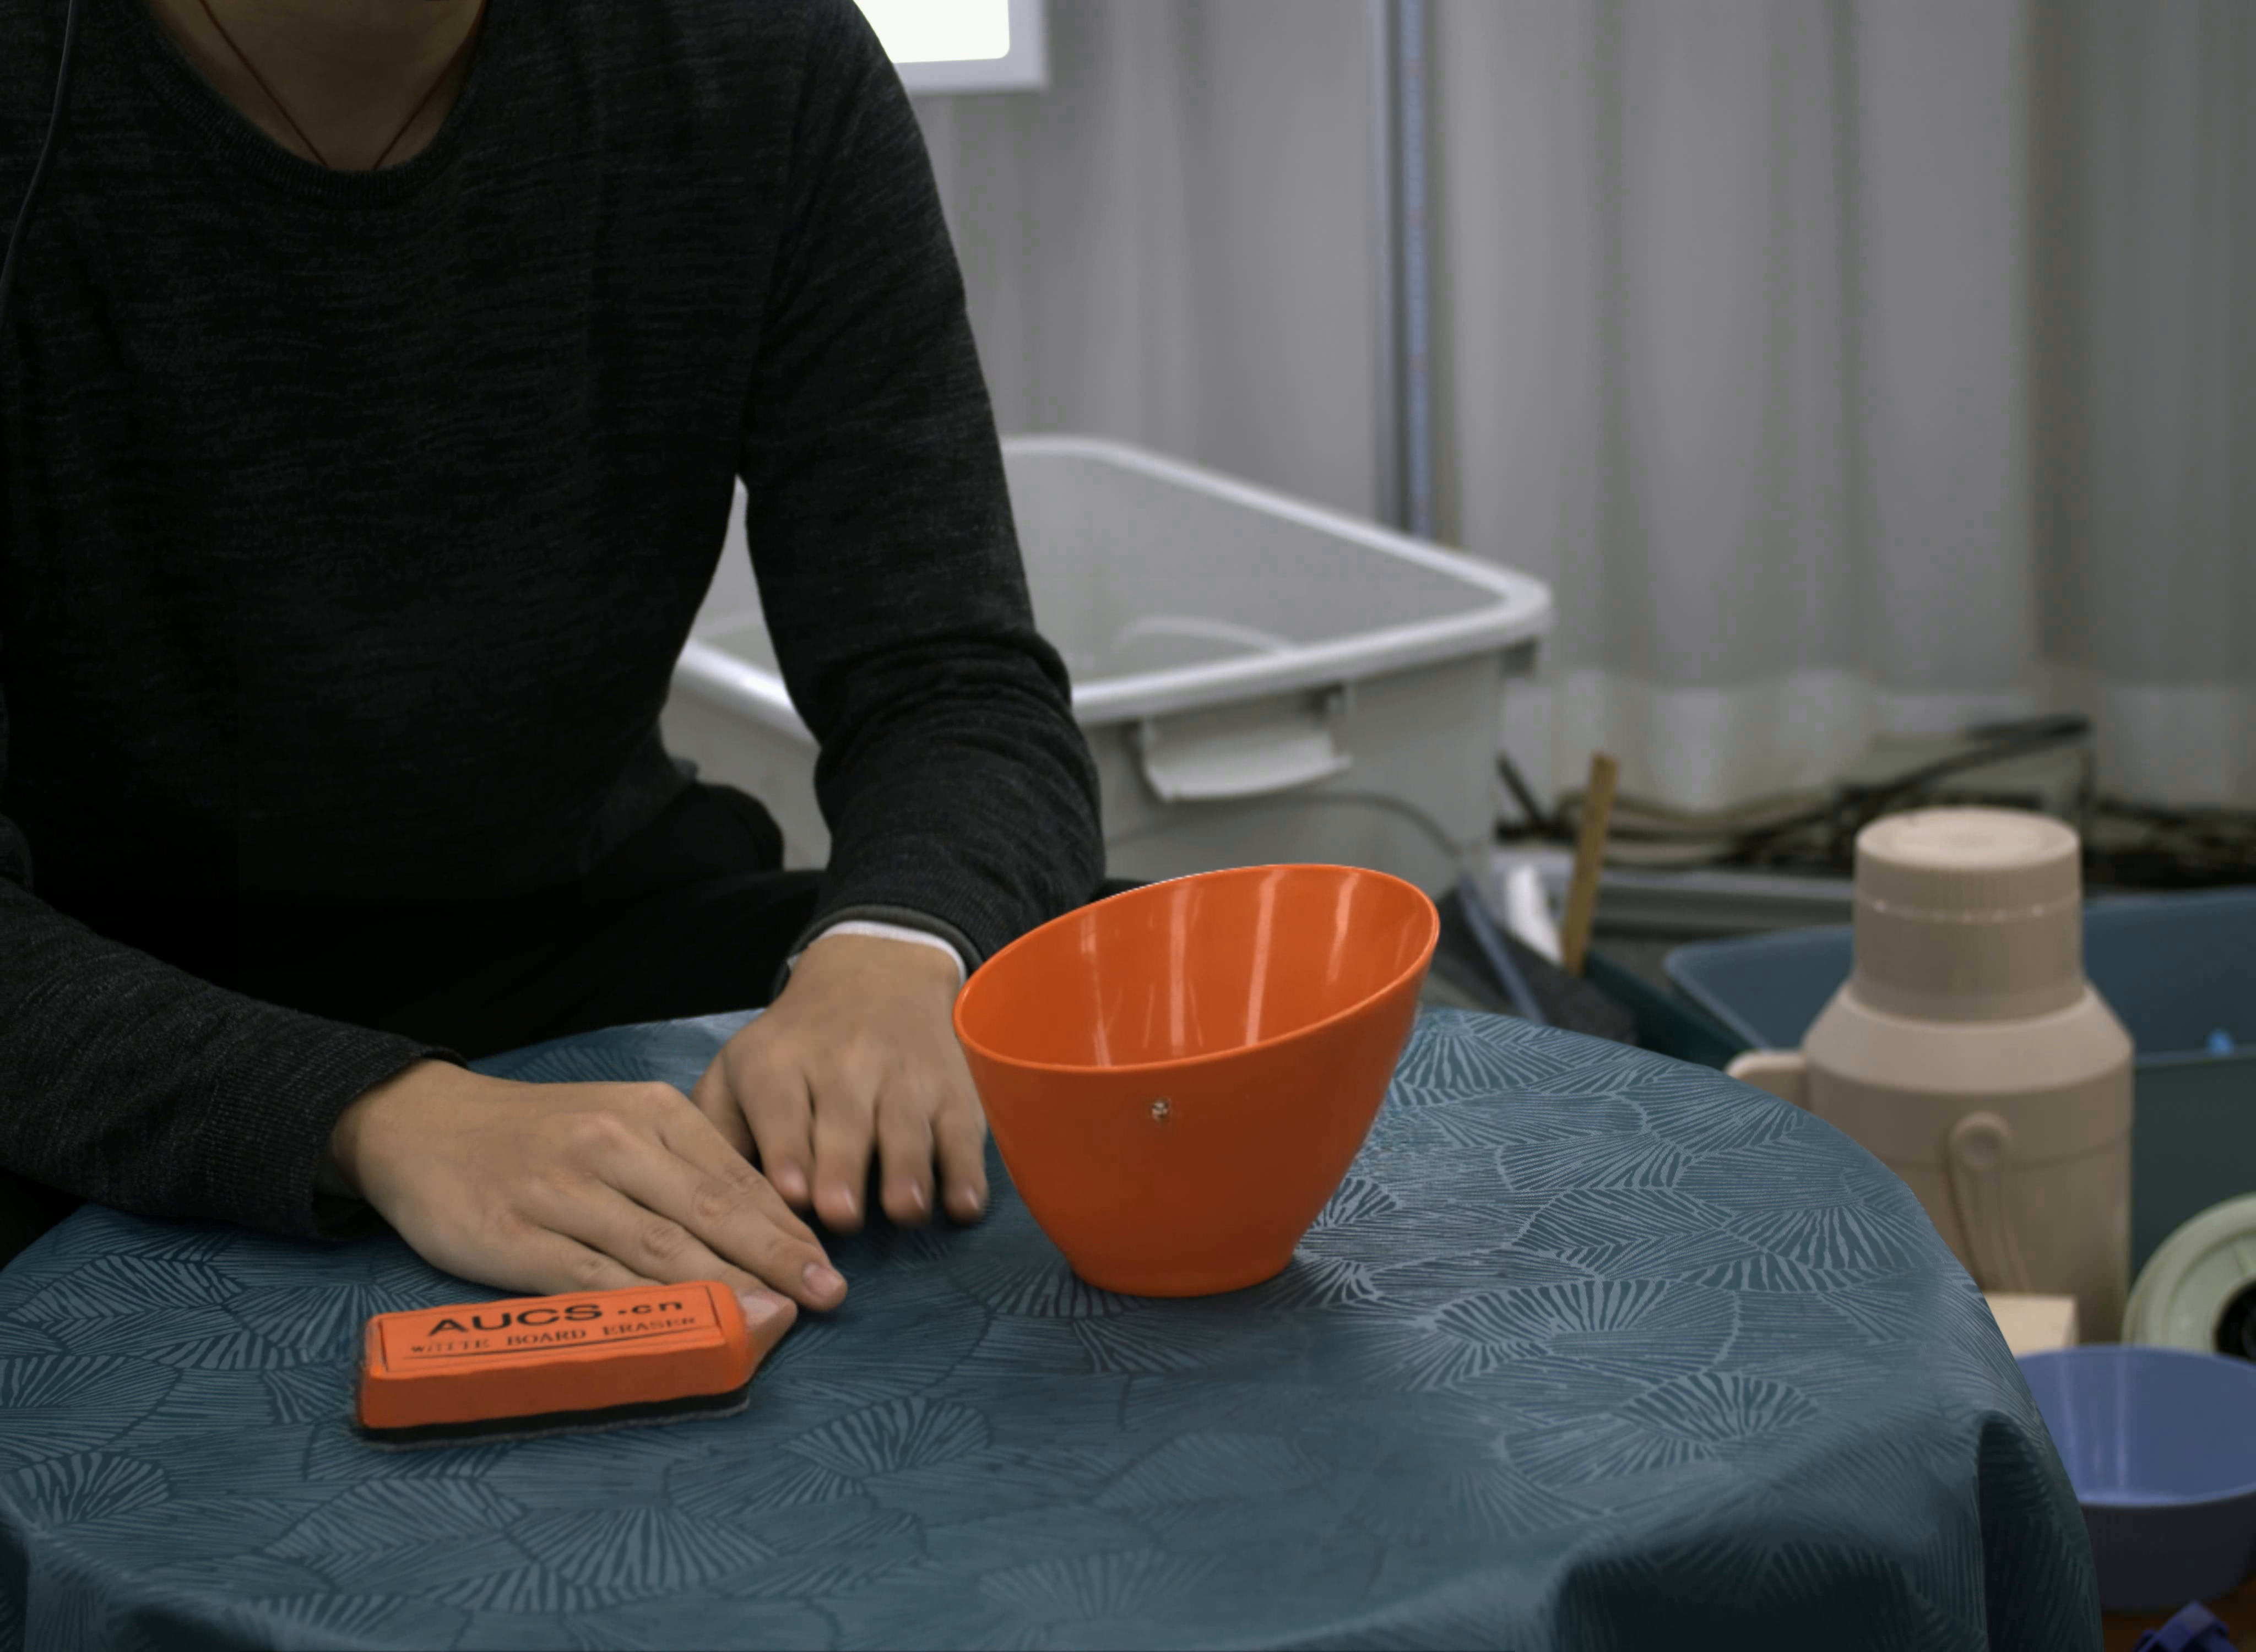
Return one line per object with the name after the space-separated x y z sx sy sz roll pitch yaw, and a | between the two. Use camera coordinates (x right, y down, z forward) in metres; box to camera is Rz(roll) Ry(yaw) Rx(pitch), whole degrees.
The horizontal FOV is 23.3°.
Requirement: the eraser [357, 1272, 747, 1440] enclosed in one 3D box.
-0.164 0.150 1.554 0.107 0.023 0.059 -4 17 -9 | eraser

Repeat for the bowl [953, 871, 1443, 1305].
0.023 0.082 1.640 0.147 0.104 0.149 -2 15 0 | bowl
